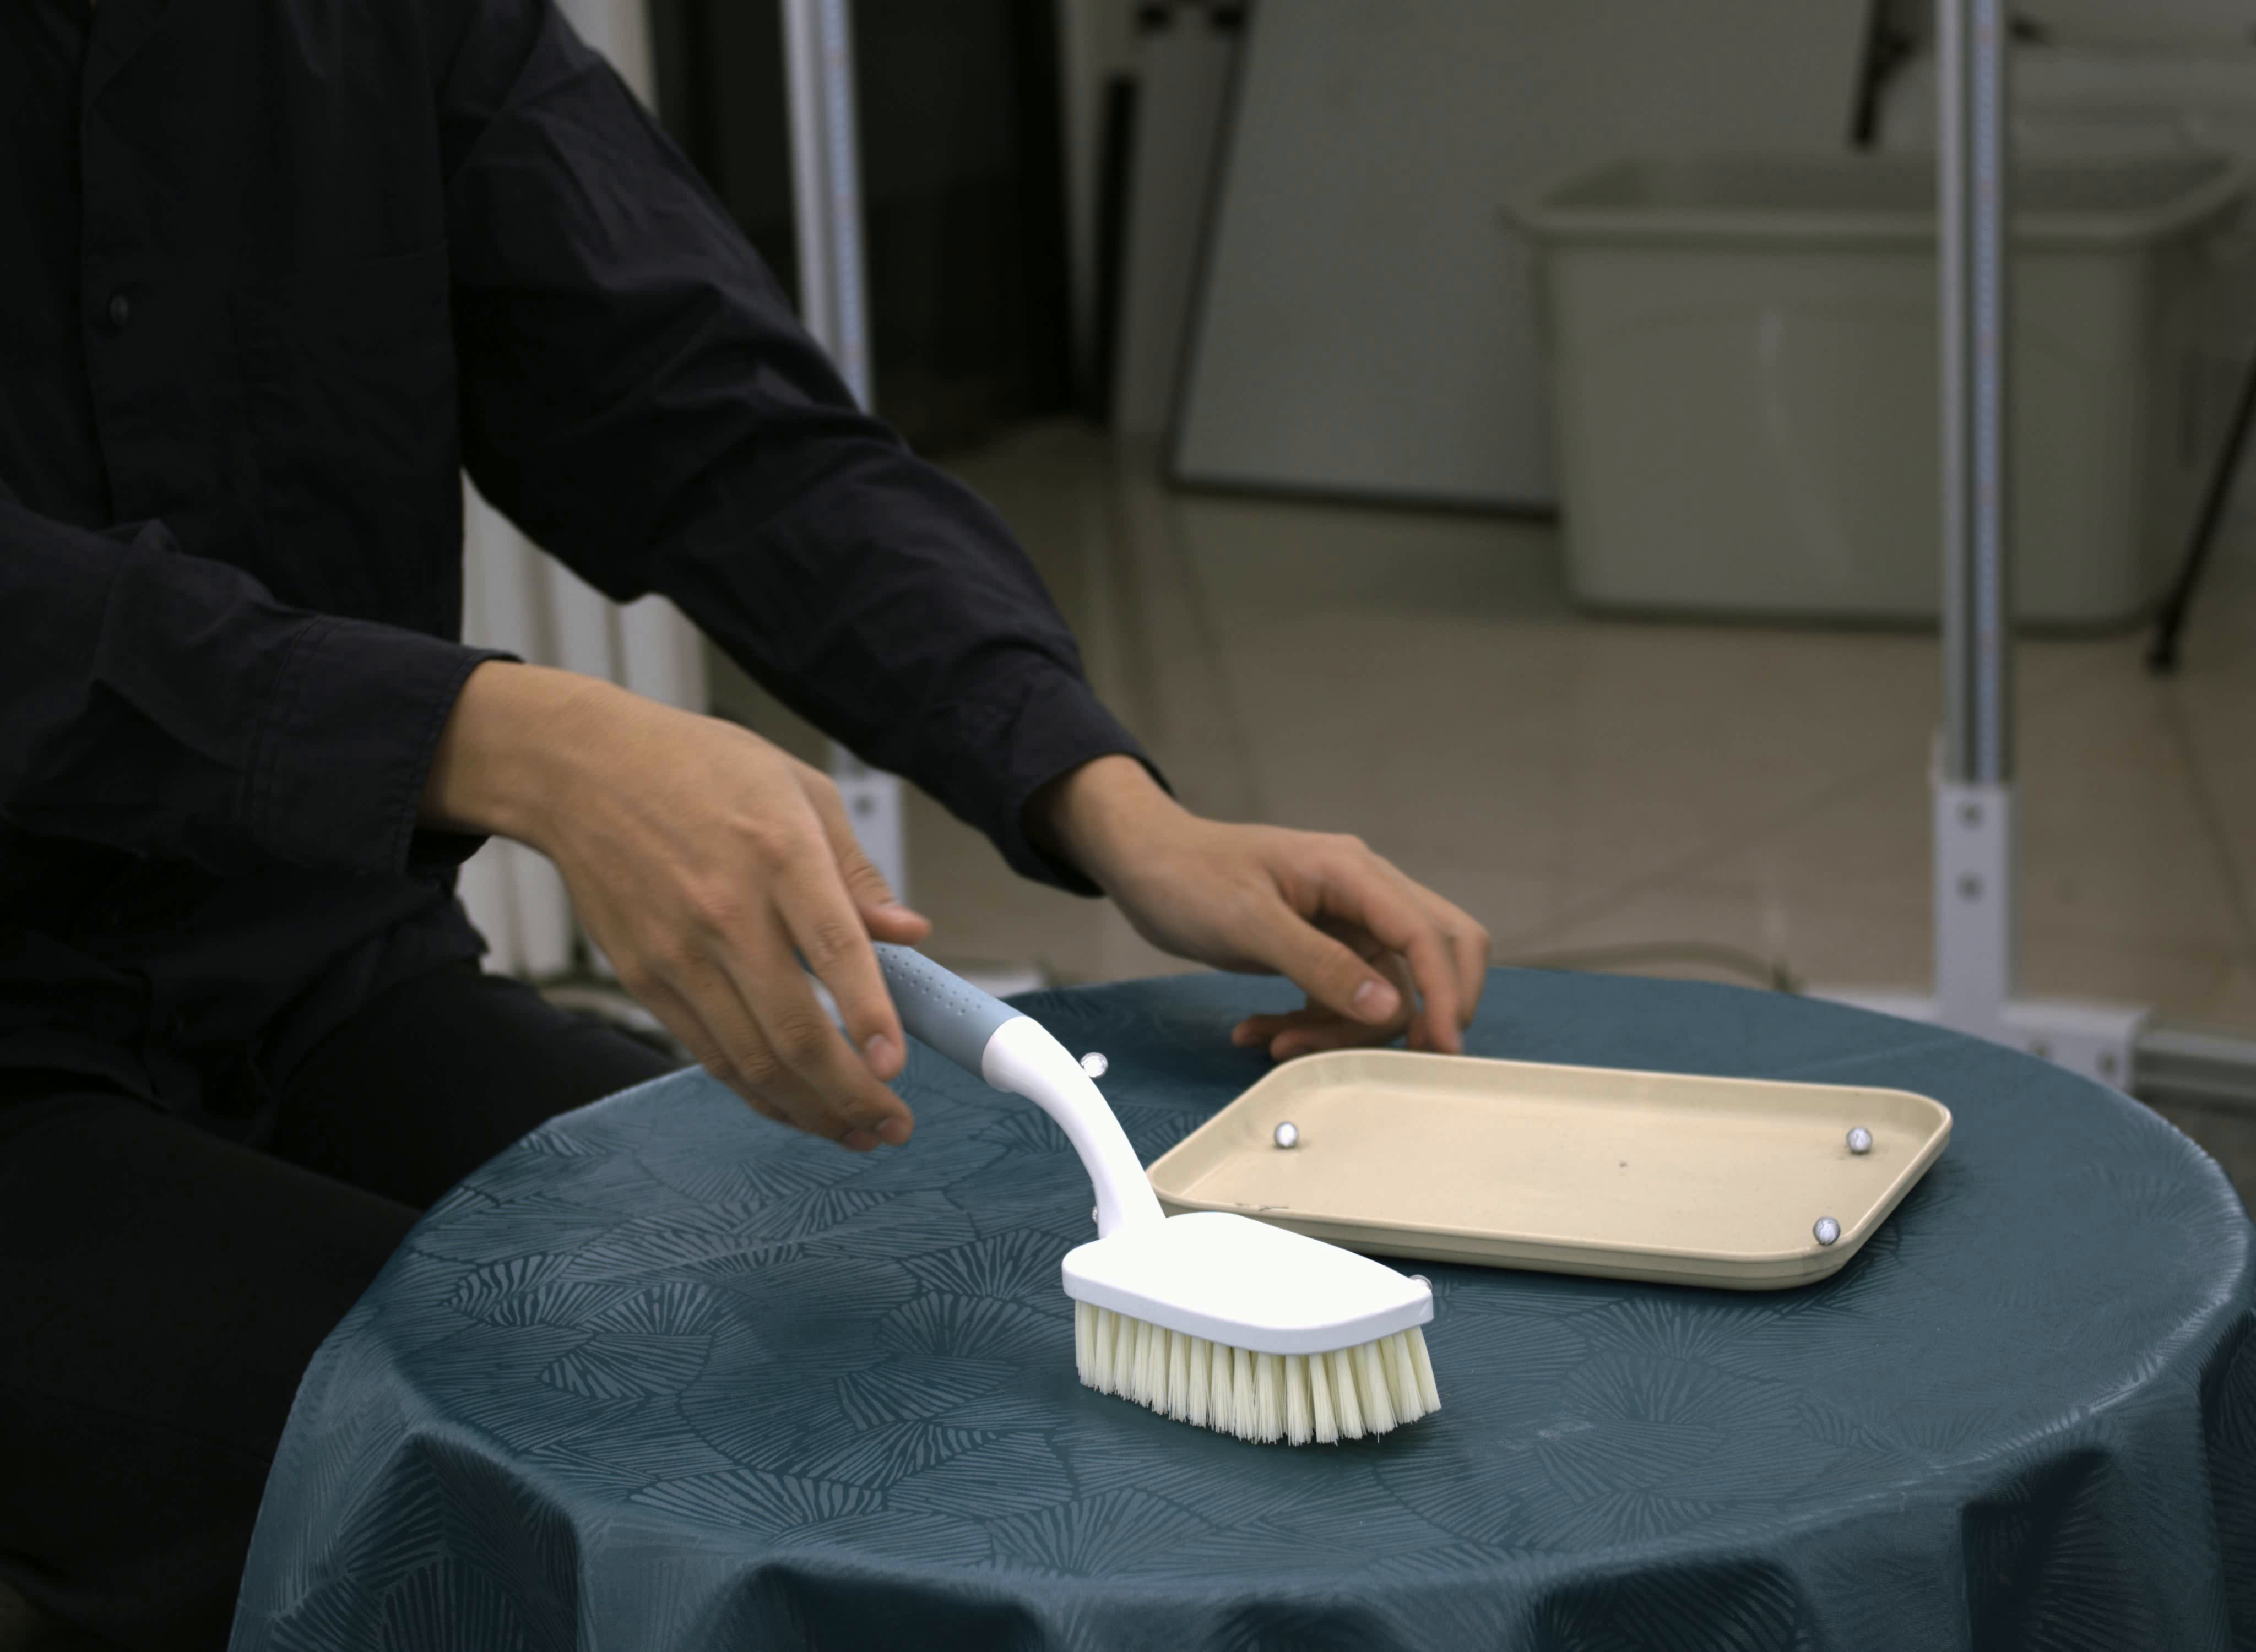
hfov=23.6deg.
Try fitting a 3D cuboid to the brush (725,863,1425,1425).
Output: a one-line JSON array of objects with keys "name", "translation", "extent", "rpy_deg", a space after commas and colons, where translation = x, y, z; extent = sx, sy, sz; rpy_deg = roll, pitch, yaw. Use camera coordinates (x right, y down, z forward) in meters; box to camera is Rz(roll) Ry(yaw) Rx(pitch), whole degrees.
[{"name": "brush", "translation": [-0.022, 0.109, 1.646], "extent": [0.329, 0.085, 0.082], "rpy_deg": [29, -4, 45]}]

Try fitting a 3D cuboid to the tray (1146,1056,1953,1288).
[{"name": "tray", "translation": [0.137, 0.111, 1.738], "extent": [0.240, 0.017, 0.169], "rpy_deg": [3, 15, 25]}]
